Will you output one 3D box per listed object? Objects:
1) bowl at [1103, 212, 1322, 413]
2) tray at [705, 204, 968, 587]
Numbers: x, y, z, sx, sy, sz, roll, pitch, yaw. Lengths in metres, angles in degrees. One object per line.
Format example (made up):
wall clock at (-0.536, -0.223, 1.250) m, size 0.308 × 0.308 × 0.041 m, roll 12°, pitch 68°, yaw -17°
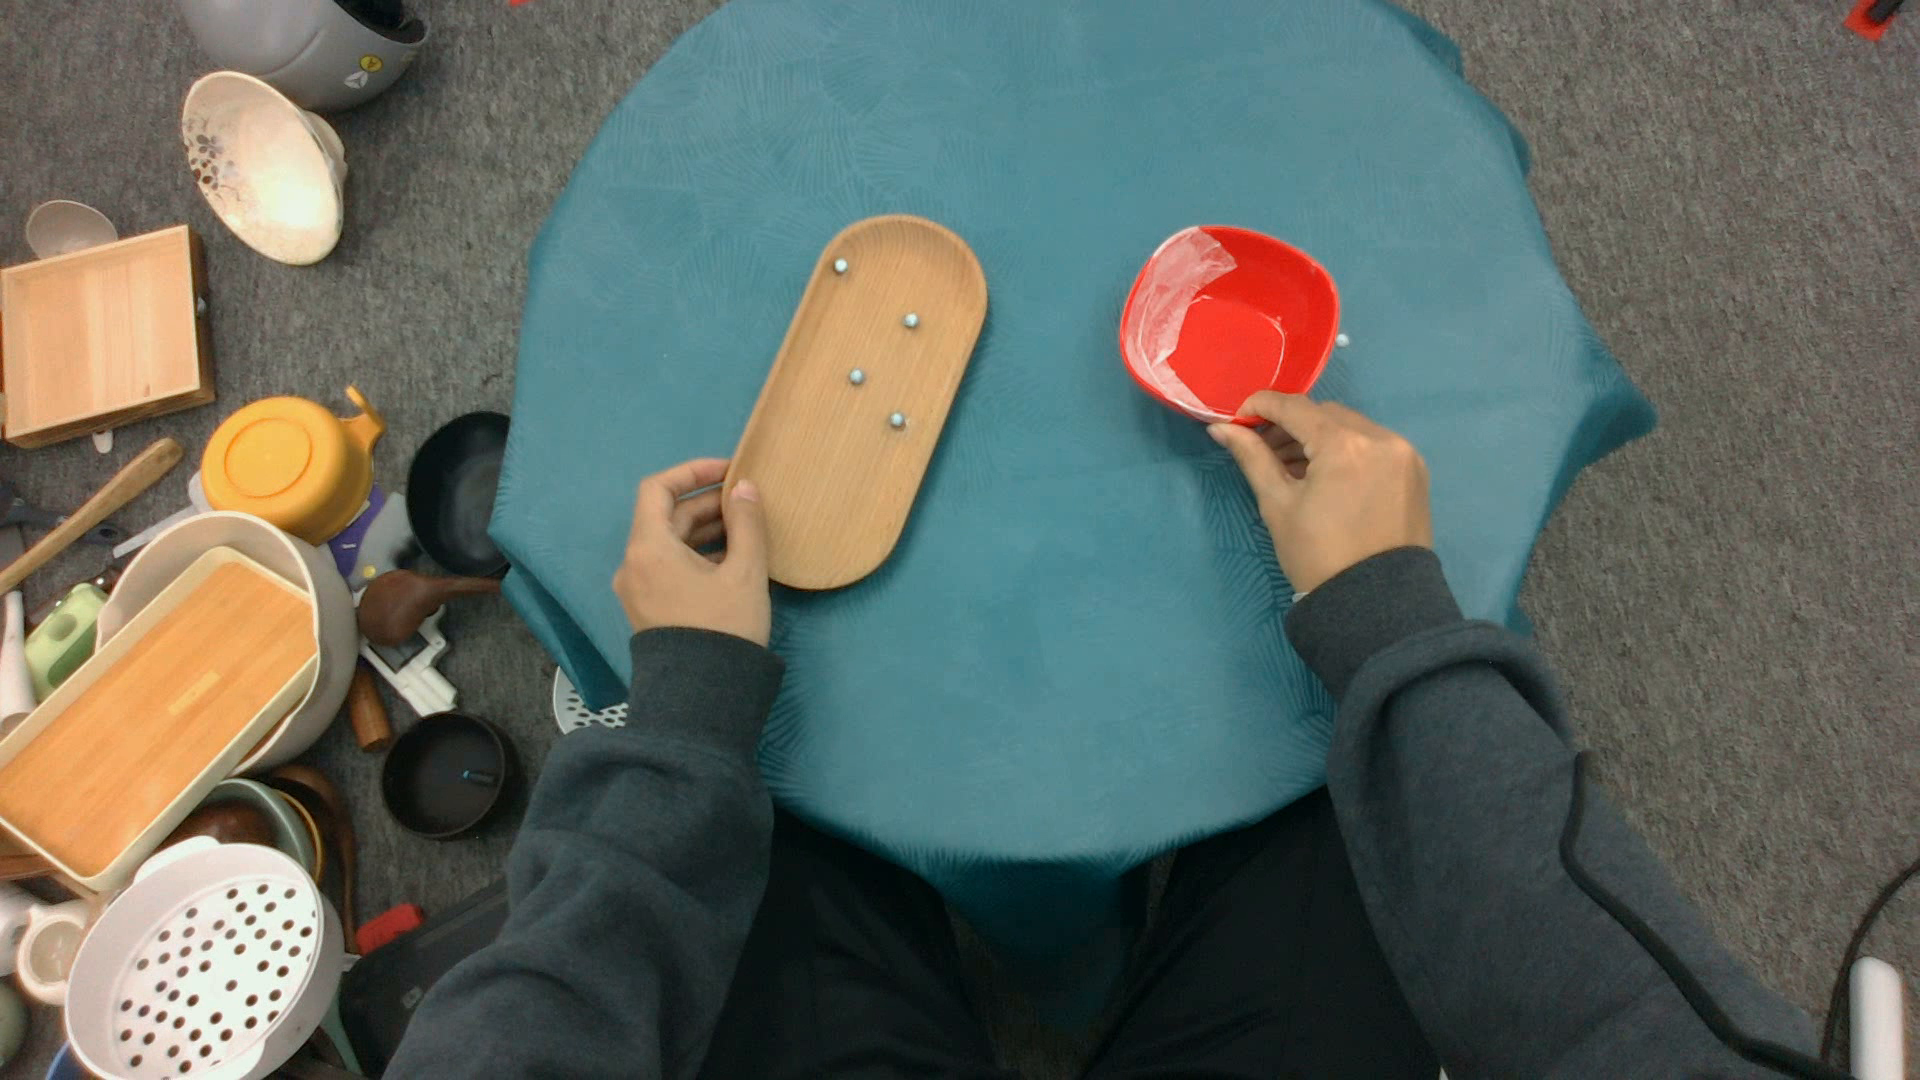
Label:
bowl at (0.135, -0.116, 0.751) m, size 0.119 × 0.051 × 0.119 m, roll -1°, pitch 71°, yaw 3°
tray at (-0.066, -0.083, 0.765) m, size 0.101 × 0.020 × 0.232 m, roll 19°, pitch 75°, yaw -1°
